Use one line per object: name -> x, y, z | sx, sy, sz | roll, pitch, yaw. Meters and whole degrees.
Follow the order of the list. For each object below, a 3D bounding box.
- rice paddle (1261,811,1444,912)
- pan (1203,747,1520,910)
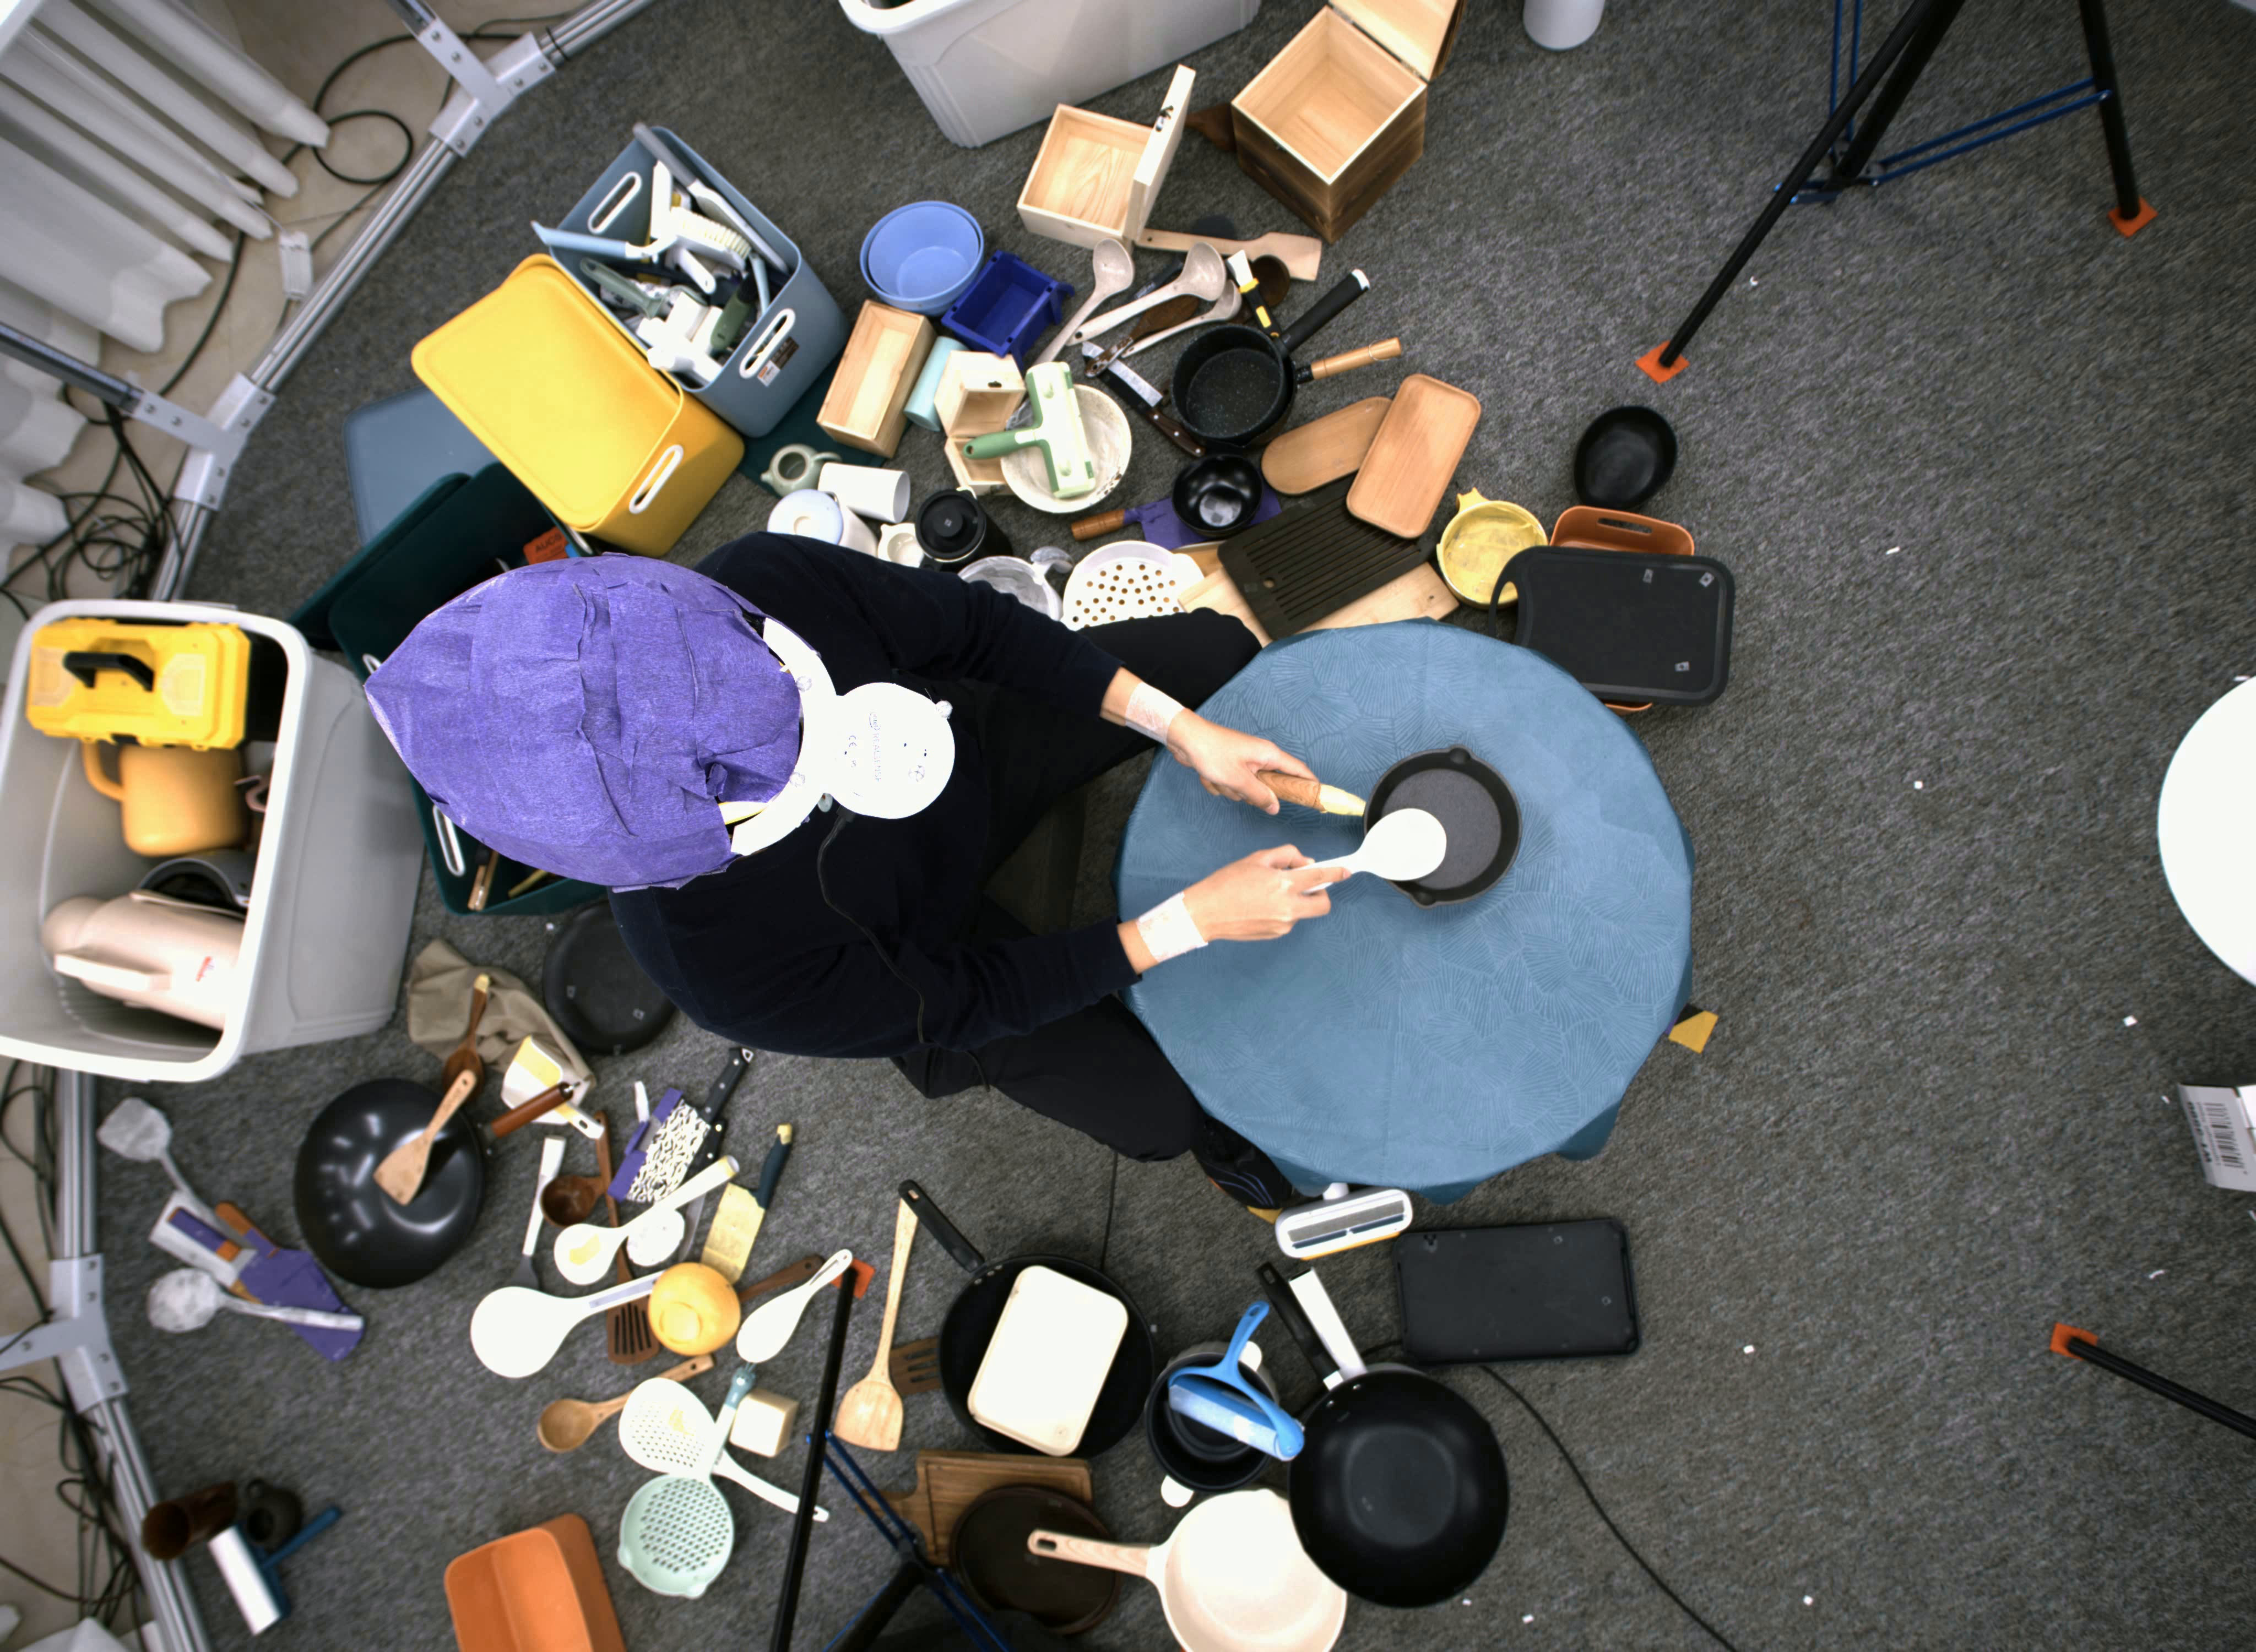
rice paddle -> 0.228, 0.036, 1.370 | 0.204, 0.030, 0.068 | -19, 87, -15
pan -> 0.234, -0.022, 1.395 | 0.324, 0.049, 0.169 | 17, 90, 7
